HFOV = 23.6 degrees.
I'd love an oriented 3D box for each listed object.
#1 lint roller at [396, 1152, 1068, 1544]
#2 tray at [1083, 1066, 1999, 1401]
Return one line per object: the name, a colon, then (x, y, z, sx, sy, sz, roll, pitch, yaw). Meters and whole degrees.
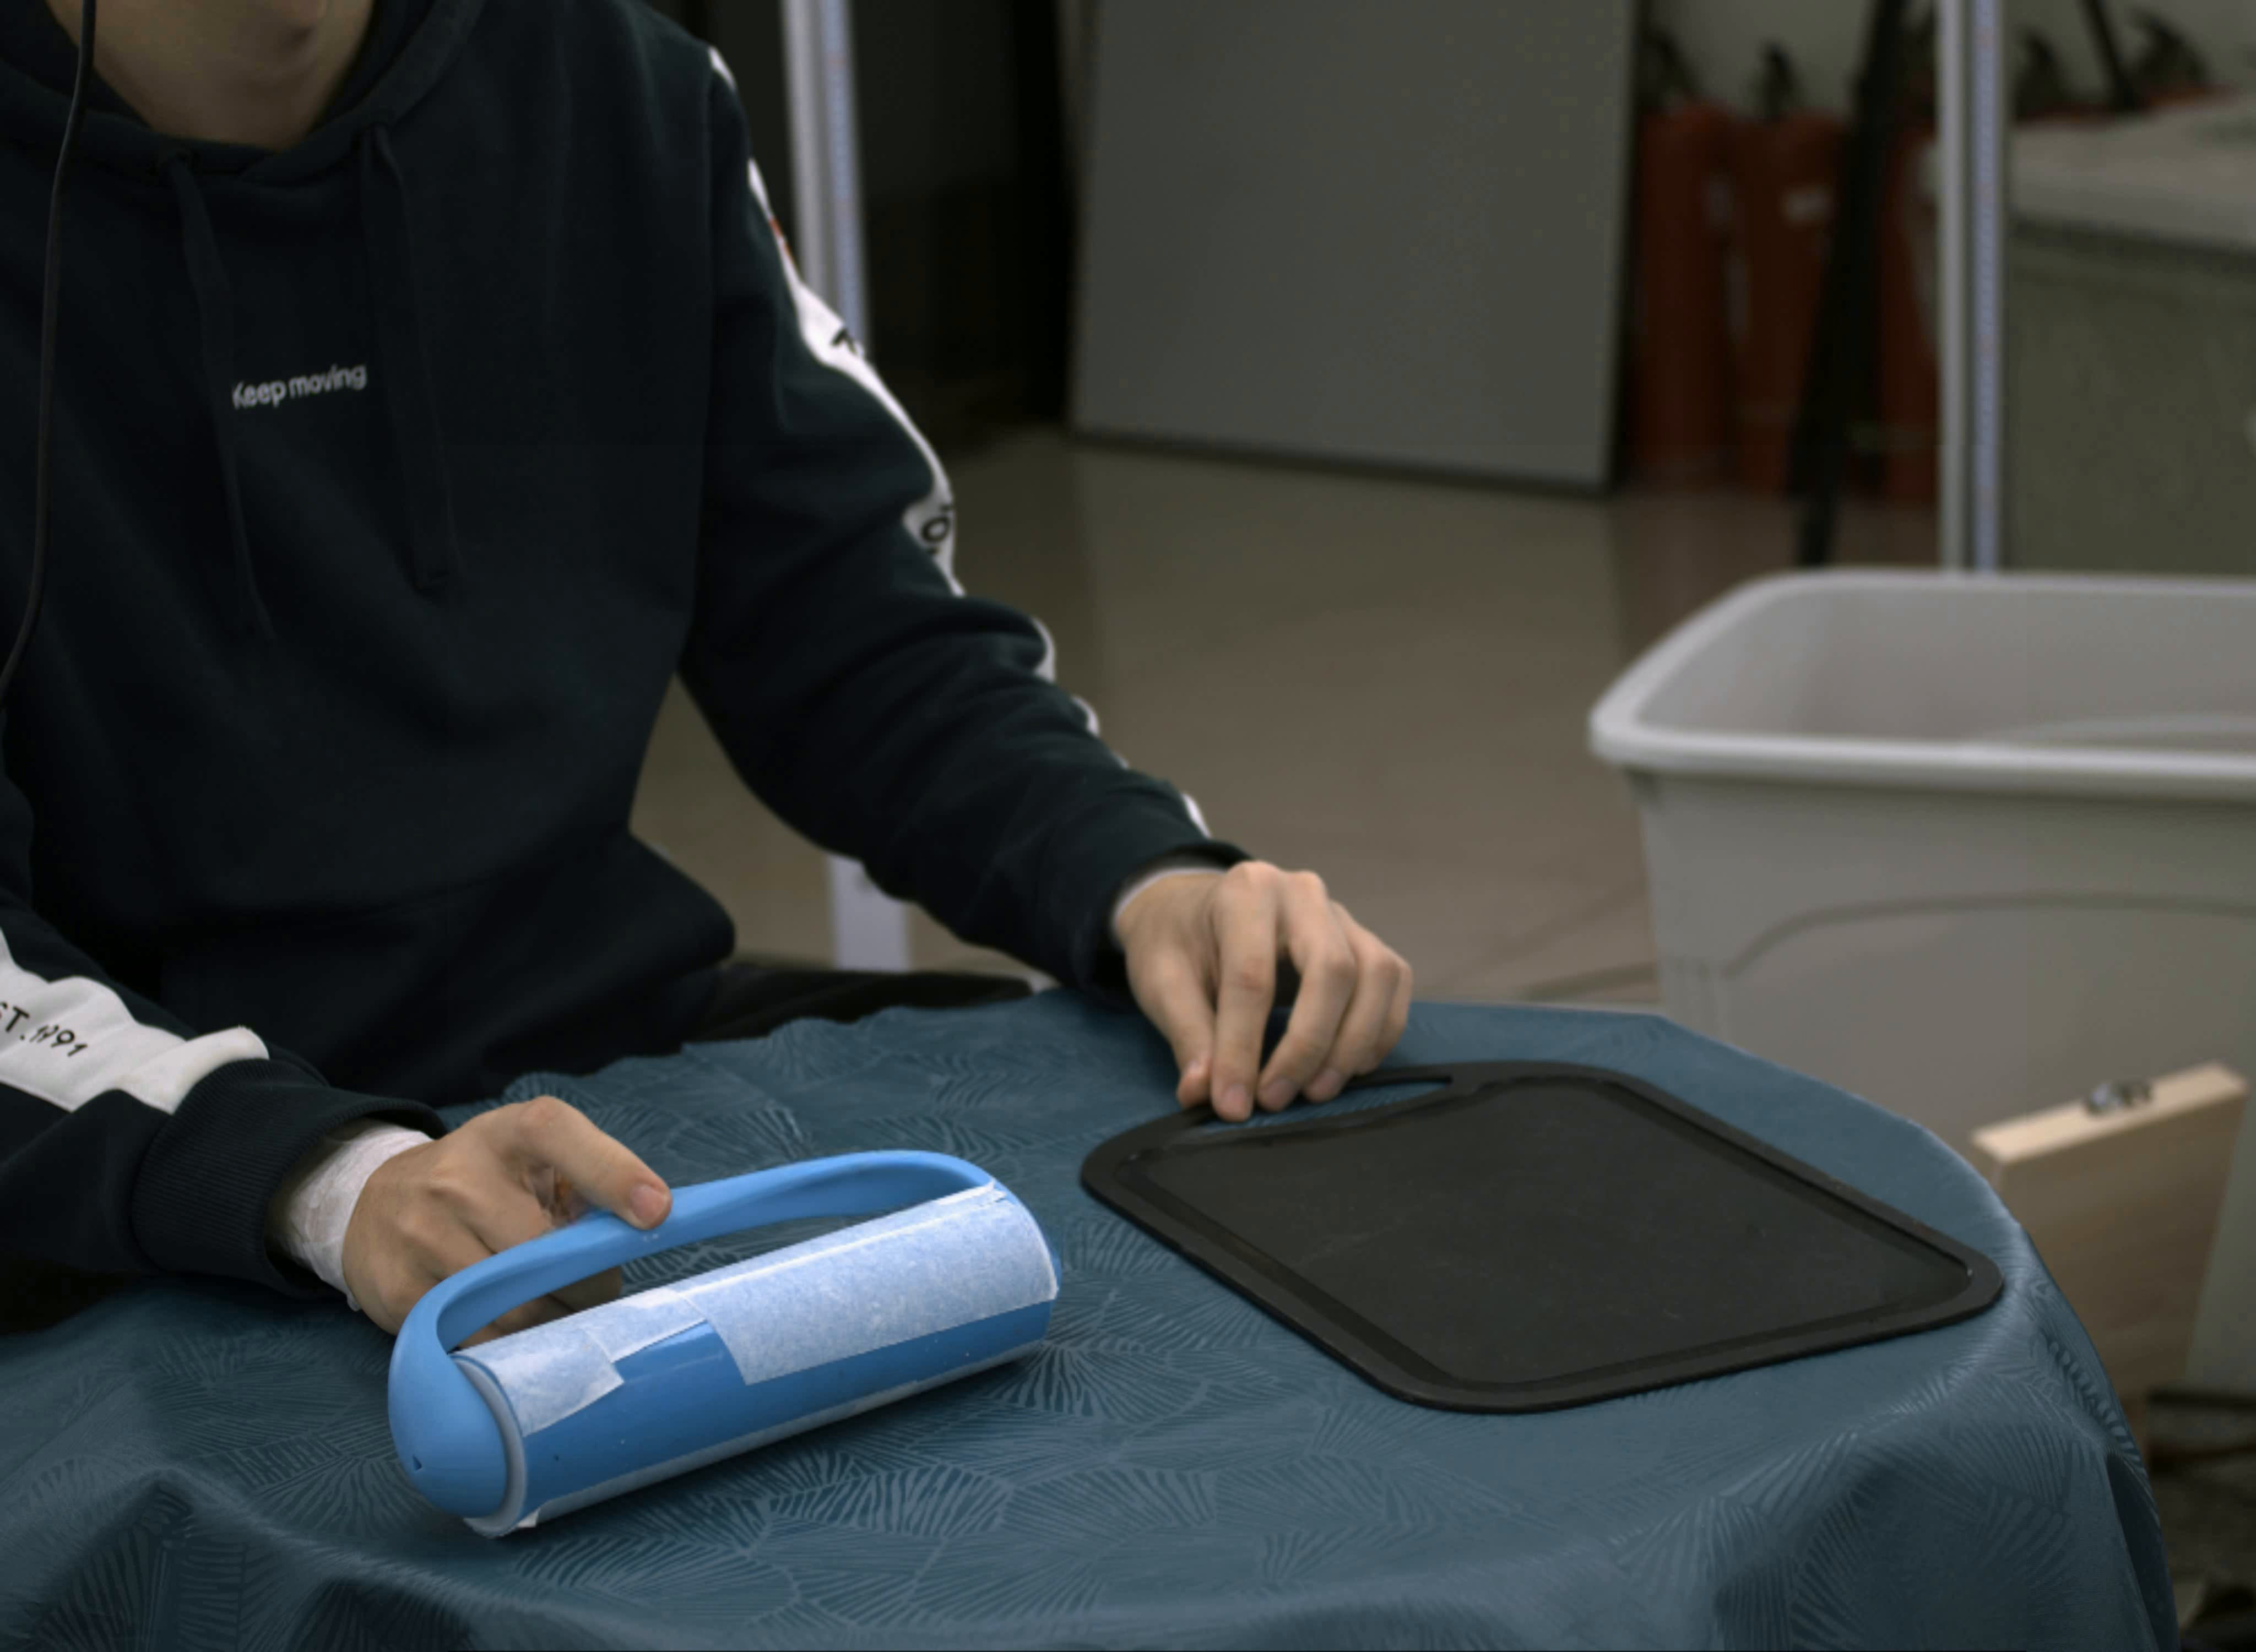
lint roller: (-0.148, 0.144, 1.604, 0.224, 0.068, 0.182, -18, 20, -39)
tray: (0.120, 0.123, 1.715, 0.207, 0.010, 0.328, -10, 15, -21)
